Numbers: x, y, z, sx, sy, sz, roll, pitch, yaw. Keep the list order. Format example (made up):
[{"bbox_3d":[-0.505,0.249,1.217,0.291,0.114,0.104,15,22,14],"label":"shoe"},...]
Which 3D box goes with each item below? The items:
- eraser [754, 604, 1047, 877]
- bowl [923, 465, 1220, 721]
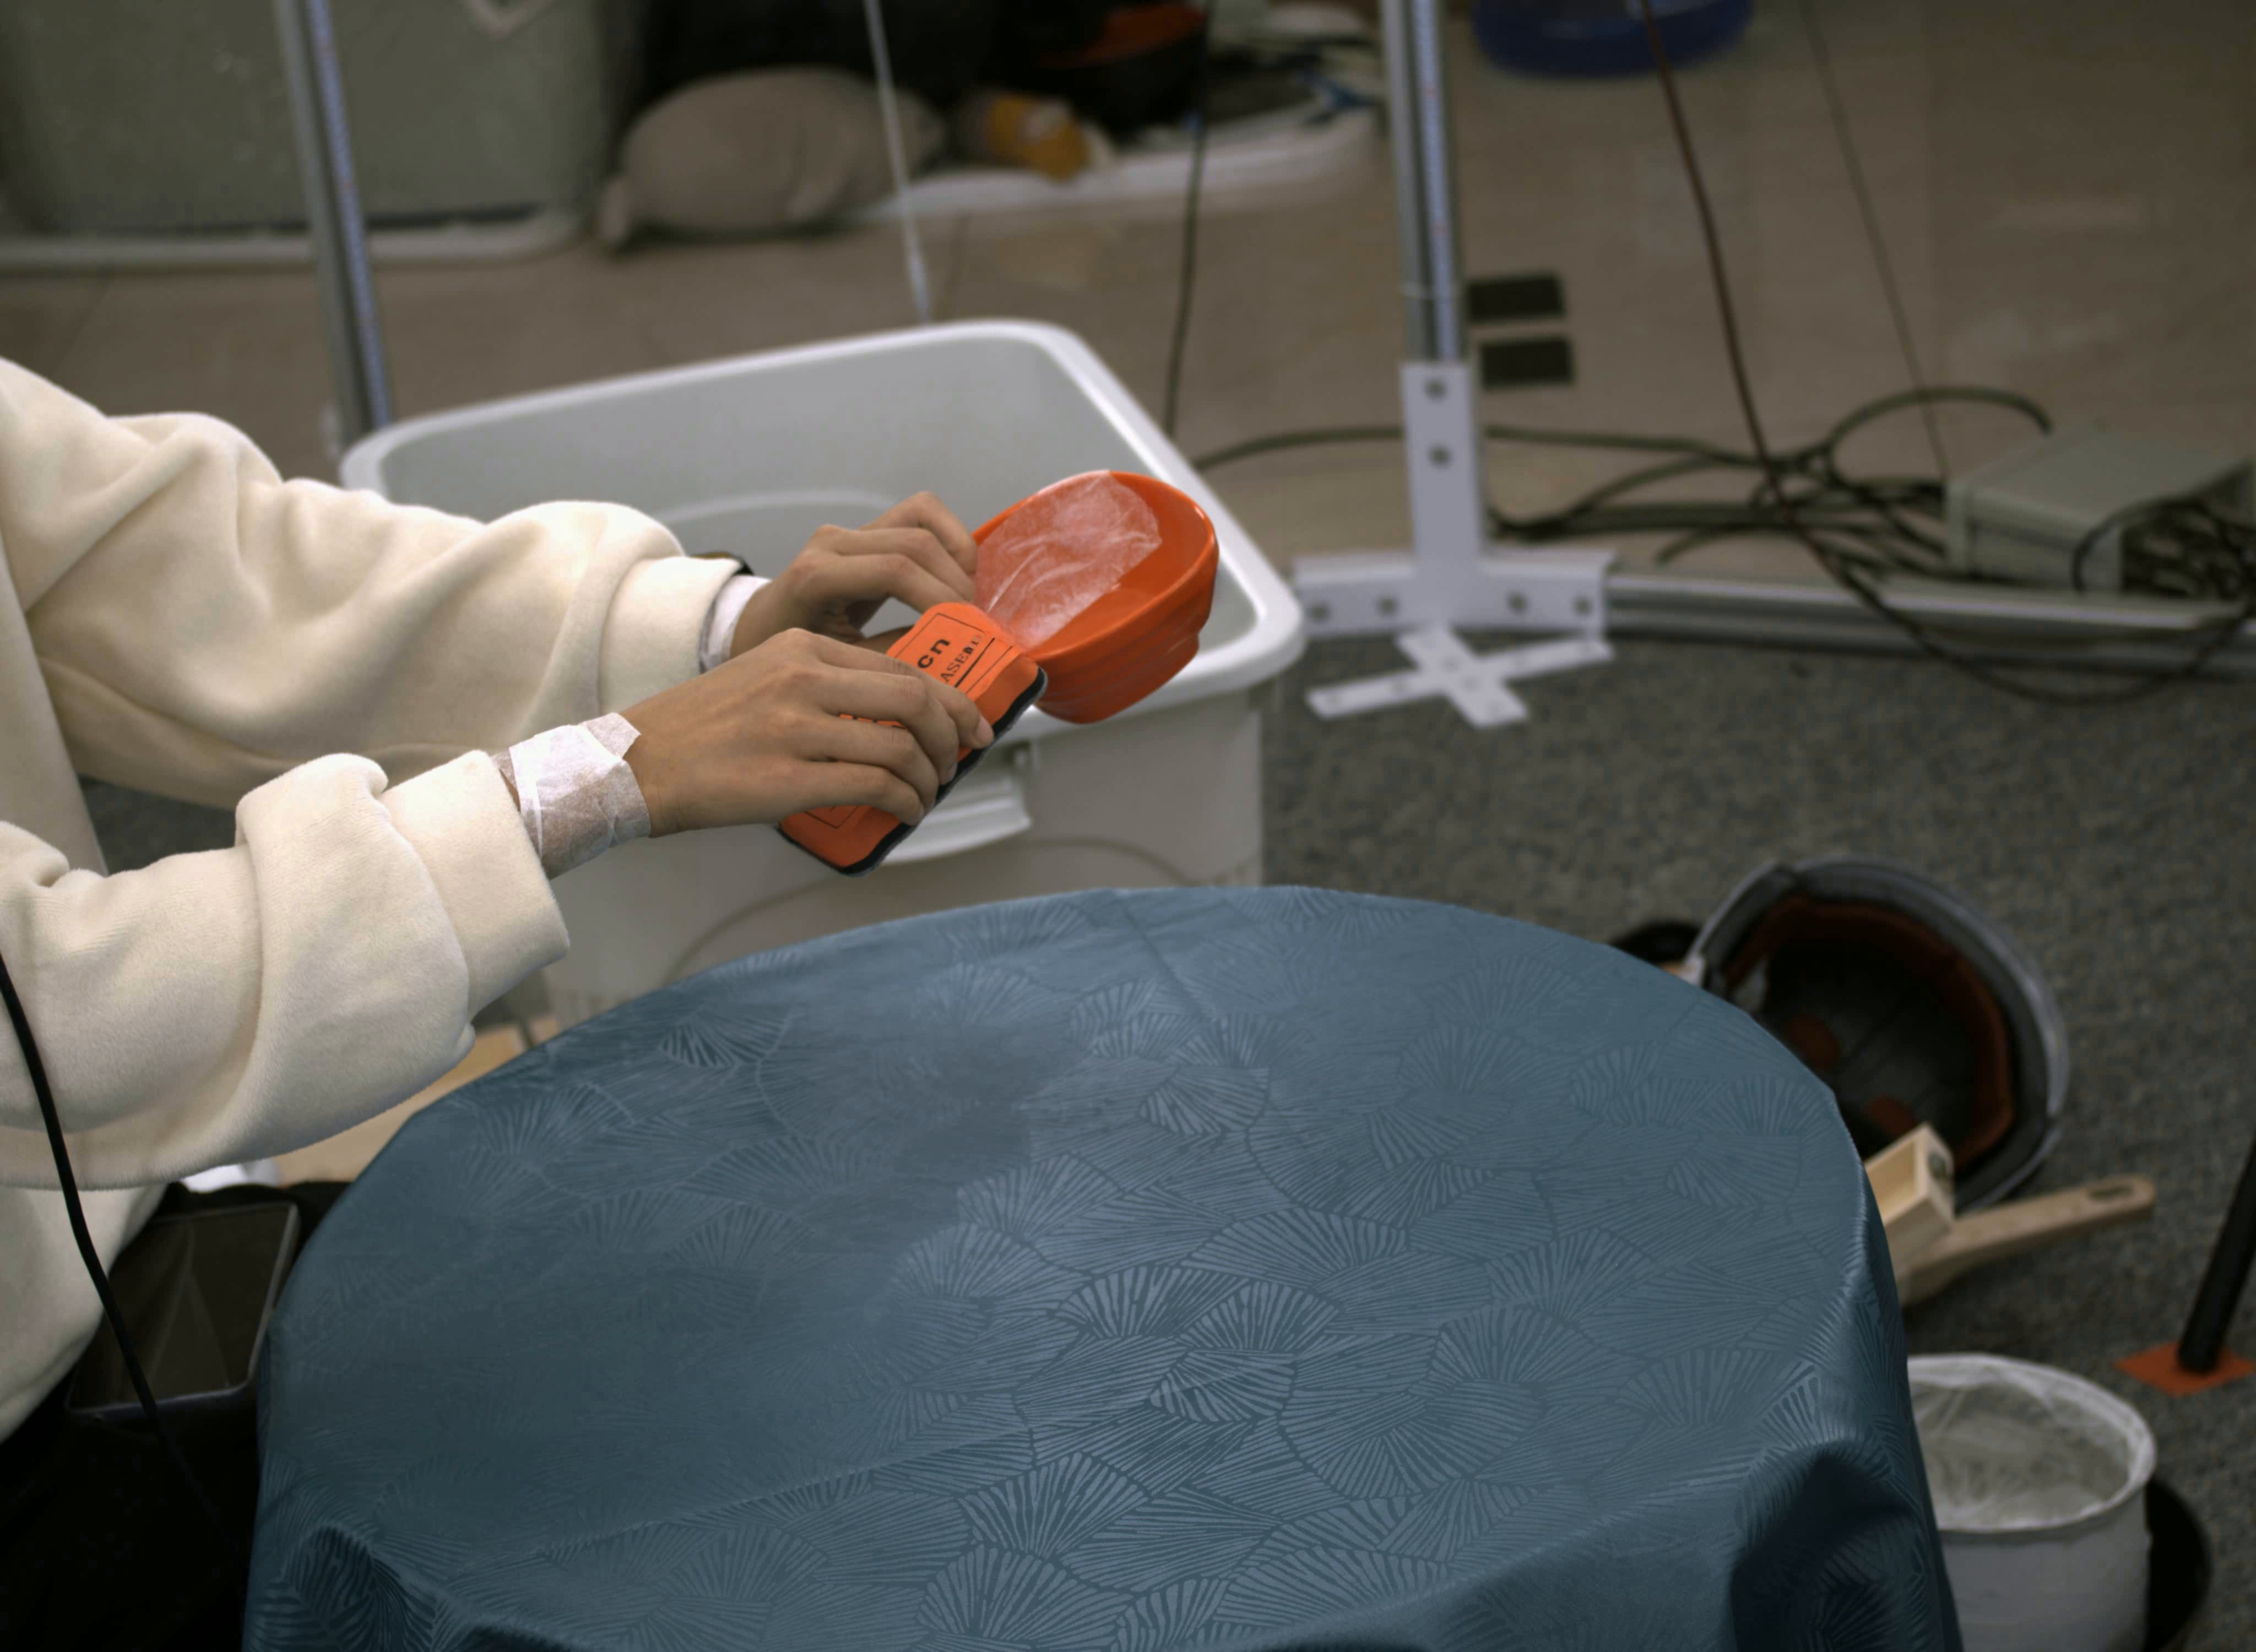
[{"bbox_3d":[-0.084,-0.032,2.083,0.107,0.023,0.058,-47,45,-13],"label":"eraser"},{"bbox_3d":[-0.016,-0.083,2.168,0.119,0.052,0.117,-14,37,12],"label":"bowl"}]
